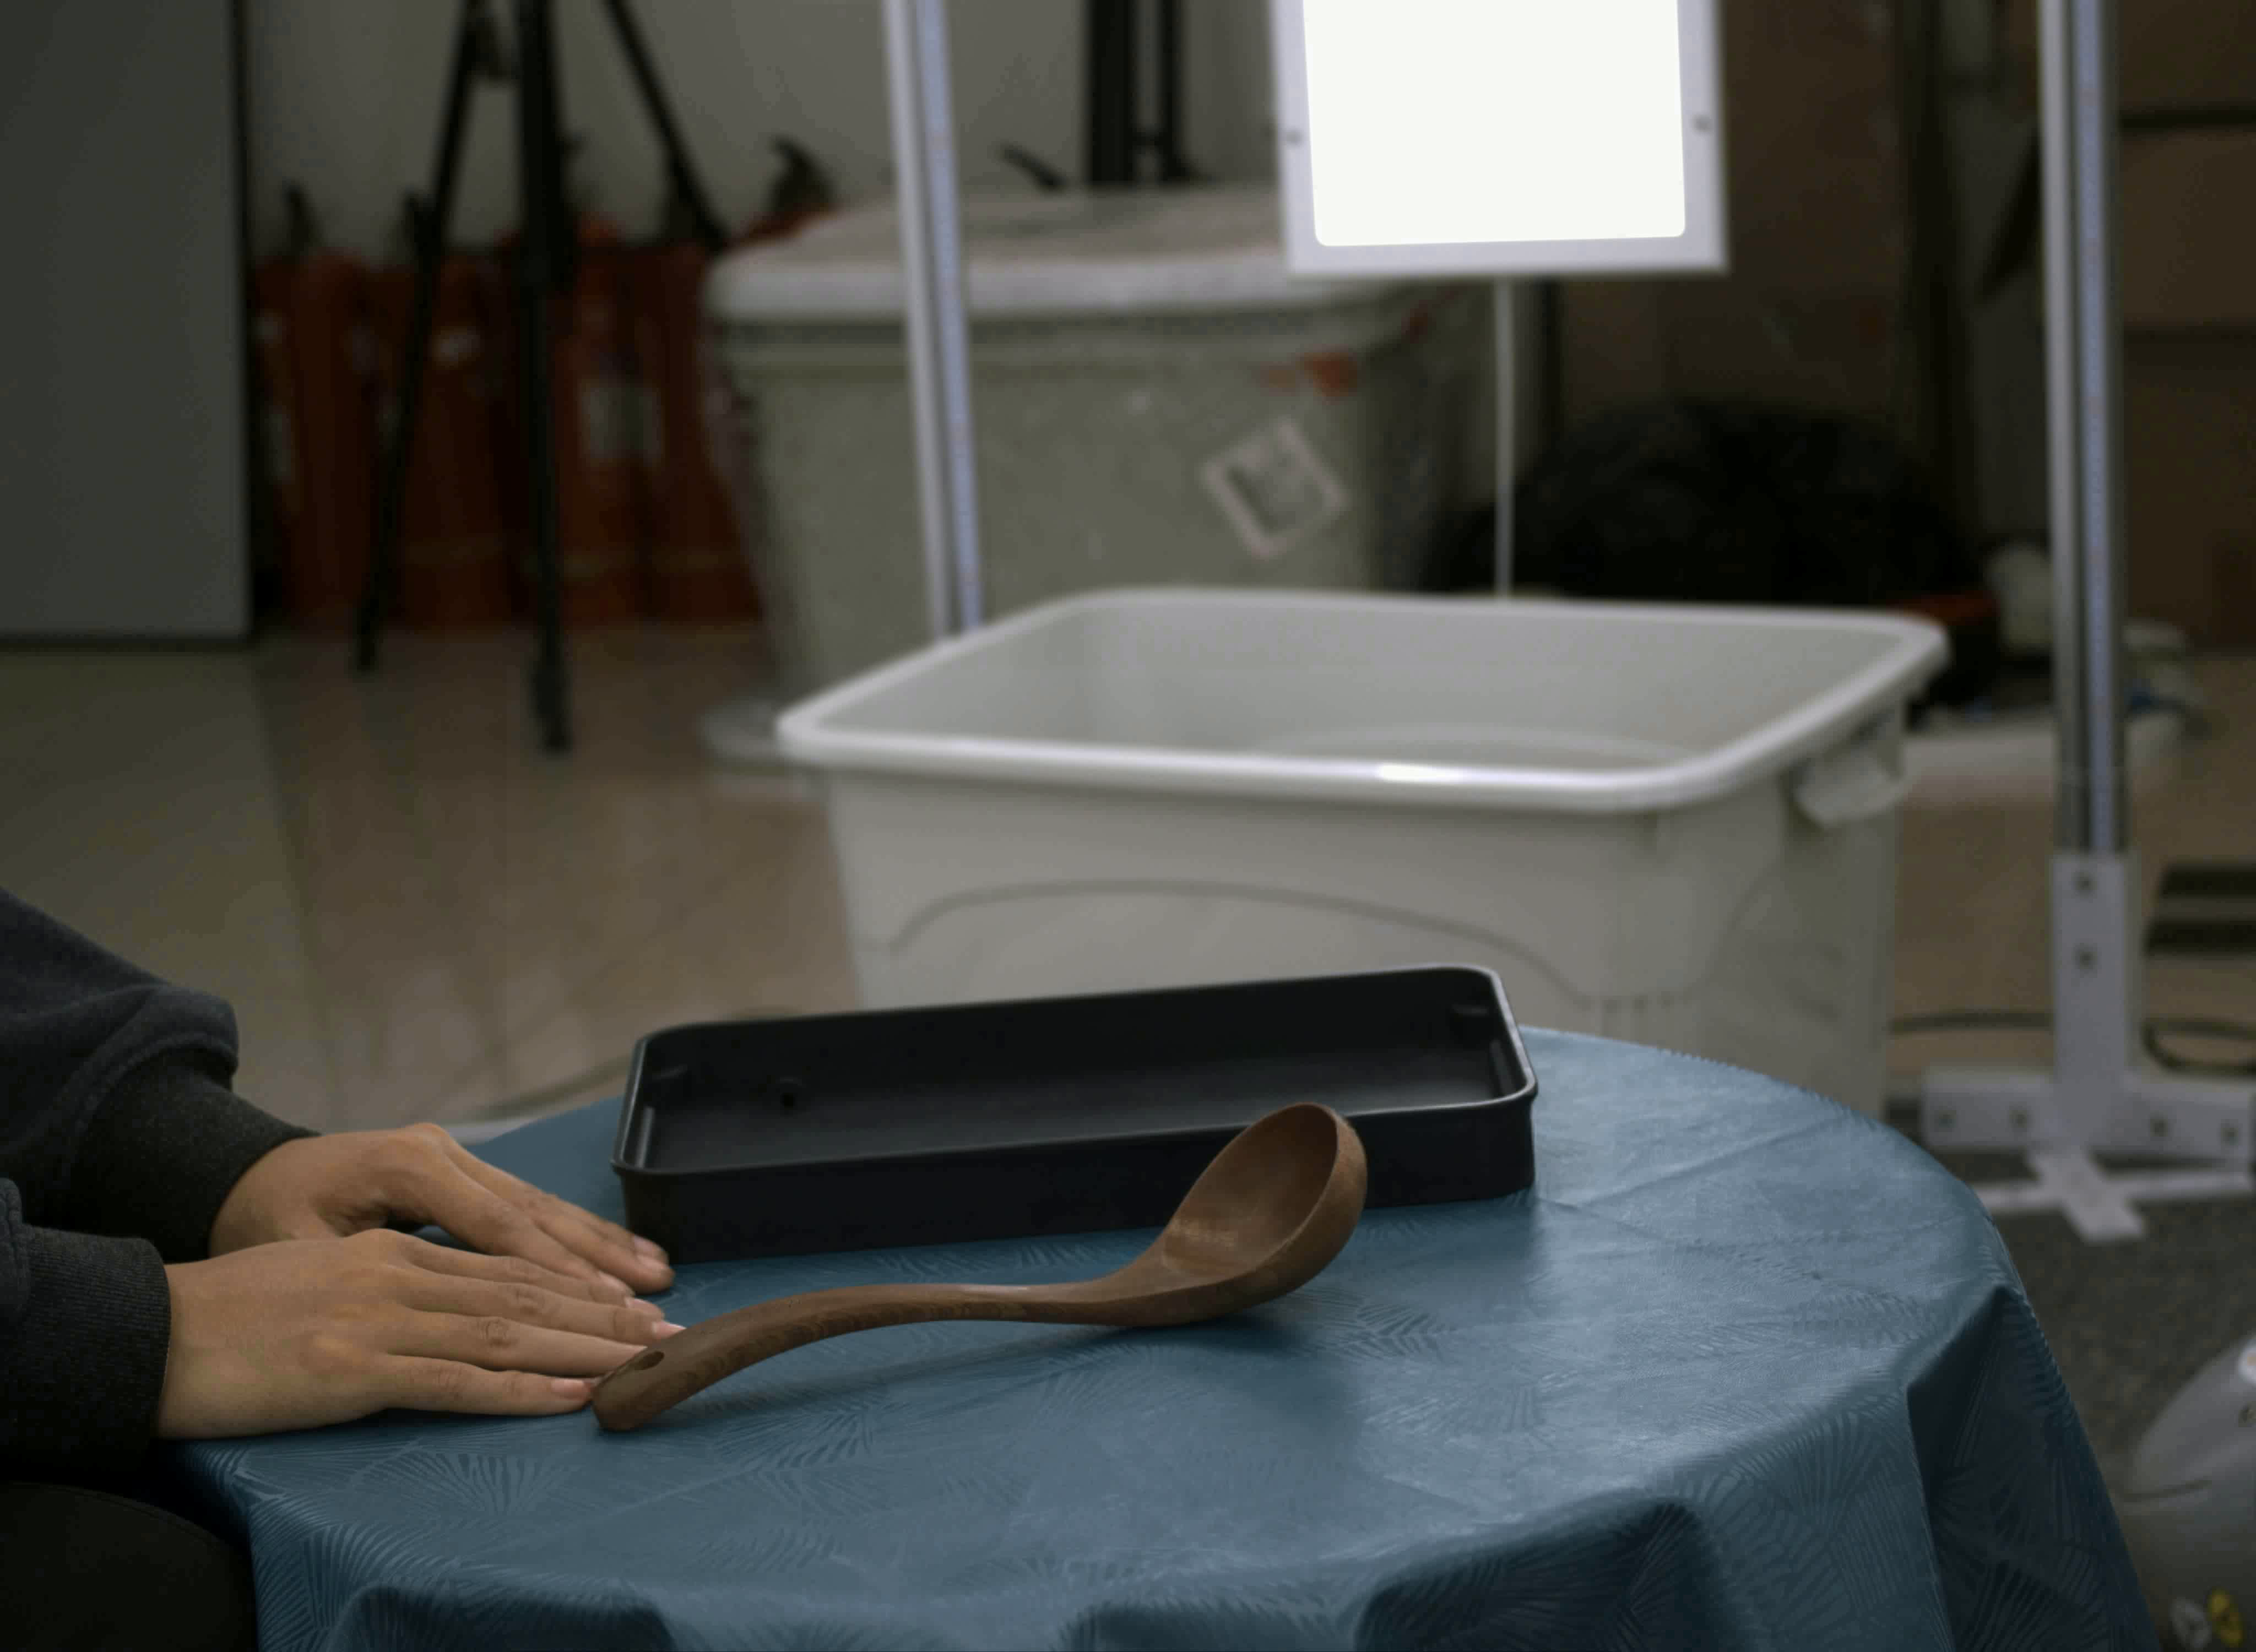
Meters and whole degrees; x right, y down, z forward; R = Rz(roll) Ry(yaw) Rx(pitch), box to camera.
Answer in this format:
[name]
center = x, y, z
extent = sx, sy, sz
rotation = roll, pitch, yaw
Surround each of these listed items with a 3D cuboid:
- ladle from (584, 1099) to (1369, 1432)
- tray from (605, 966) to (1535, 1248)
[ladle]
center = -0.047, 0.137, 1.735
extent = 0.256, 0.065, 0.077
rotation = -9, 16, -15
[tray]
center = -0.021, 0.097, 1.938
extent = 0.317, 0.037, 0.184
rotation = -3, 14, 1
